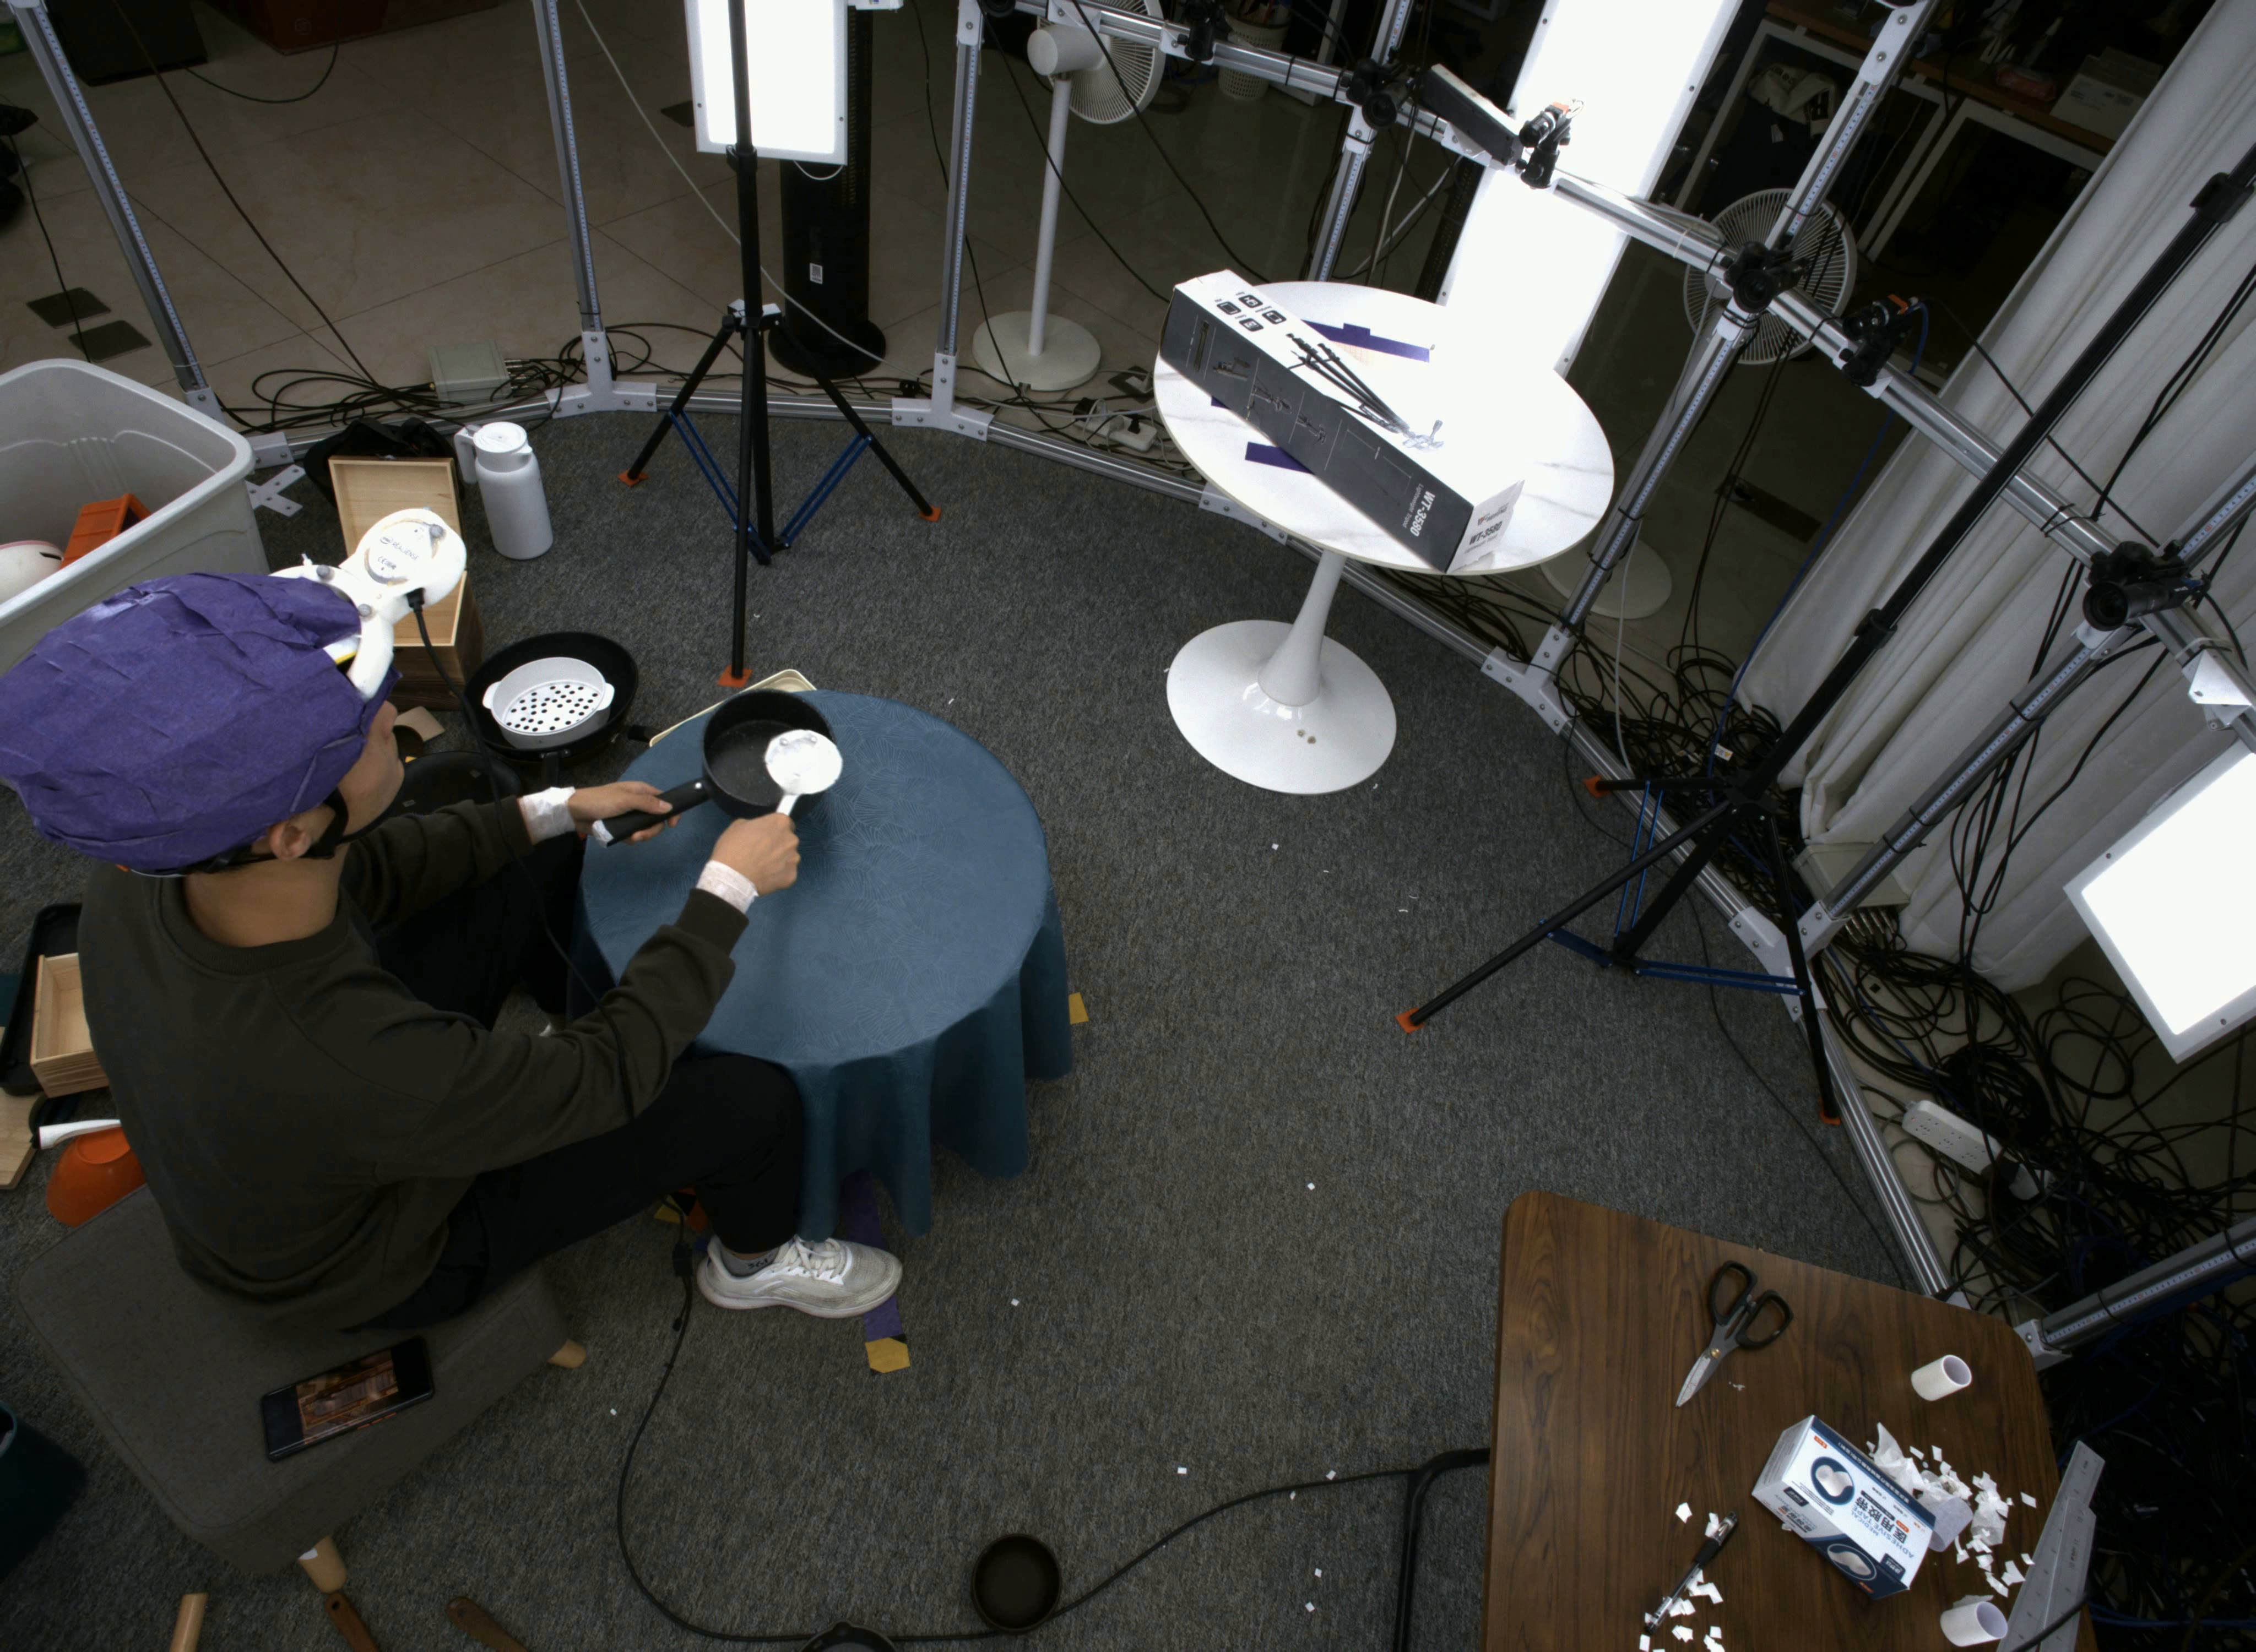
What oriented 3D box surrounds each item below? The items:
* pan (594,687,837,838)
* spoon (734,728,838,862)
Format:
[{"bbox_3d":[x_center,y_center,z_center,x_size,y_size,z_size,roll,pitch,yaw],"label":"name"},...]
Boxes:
[{"bbox_3d":[-0.528,-0.054,1.650,0.330,0.087,0.170,-30,78,-31],"label":"pan"},{"bbox_3d":[-0.420,-0.044,1.538,0.100,0.060,0.272,16,24,-4],"label":"spoon"}]
